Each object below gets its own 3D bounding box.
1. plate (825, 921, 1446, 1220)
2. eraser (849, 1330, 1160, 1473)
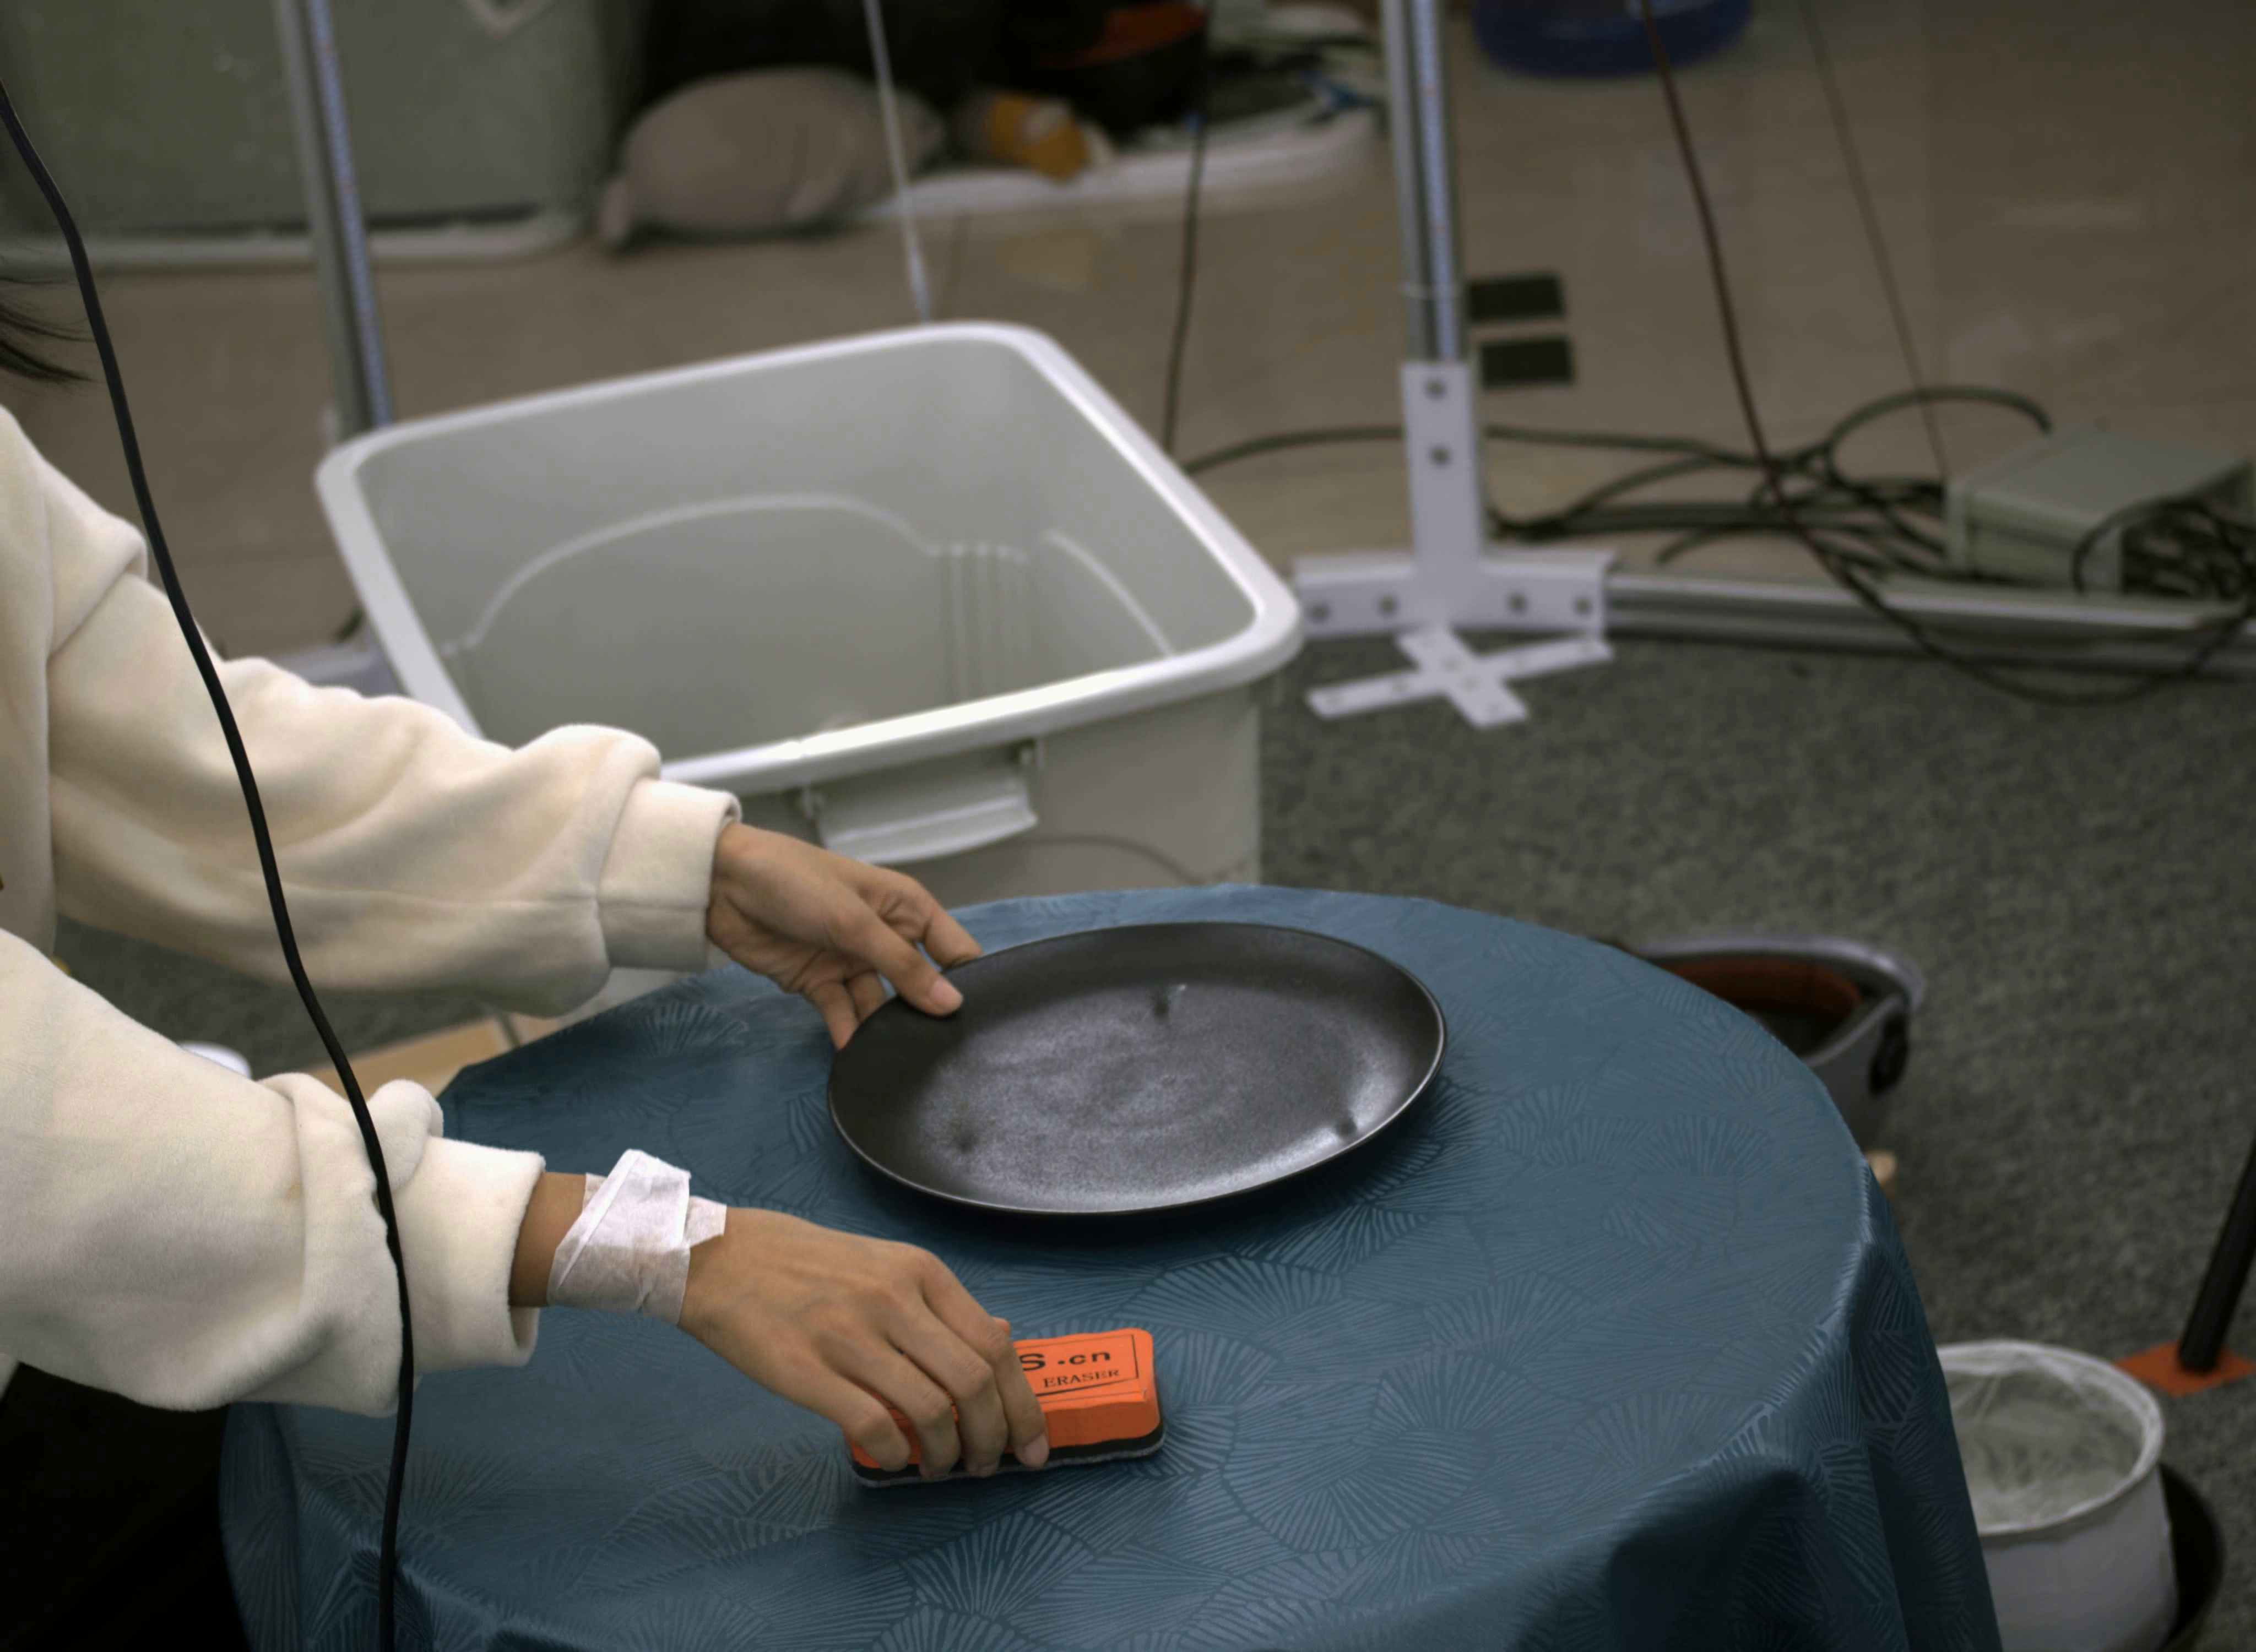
[{"bbox_3d":[0.004,0.100,2.204,0.244,0.024,0.241,-5,25,3],"label":"plate"},{"bbox_3d":[-0.043,0.201,1.988,0.108,0.023,0.058,-4,22,0],"label":"eraser"}]
